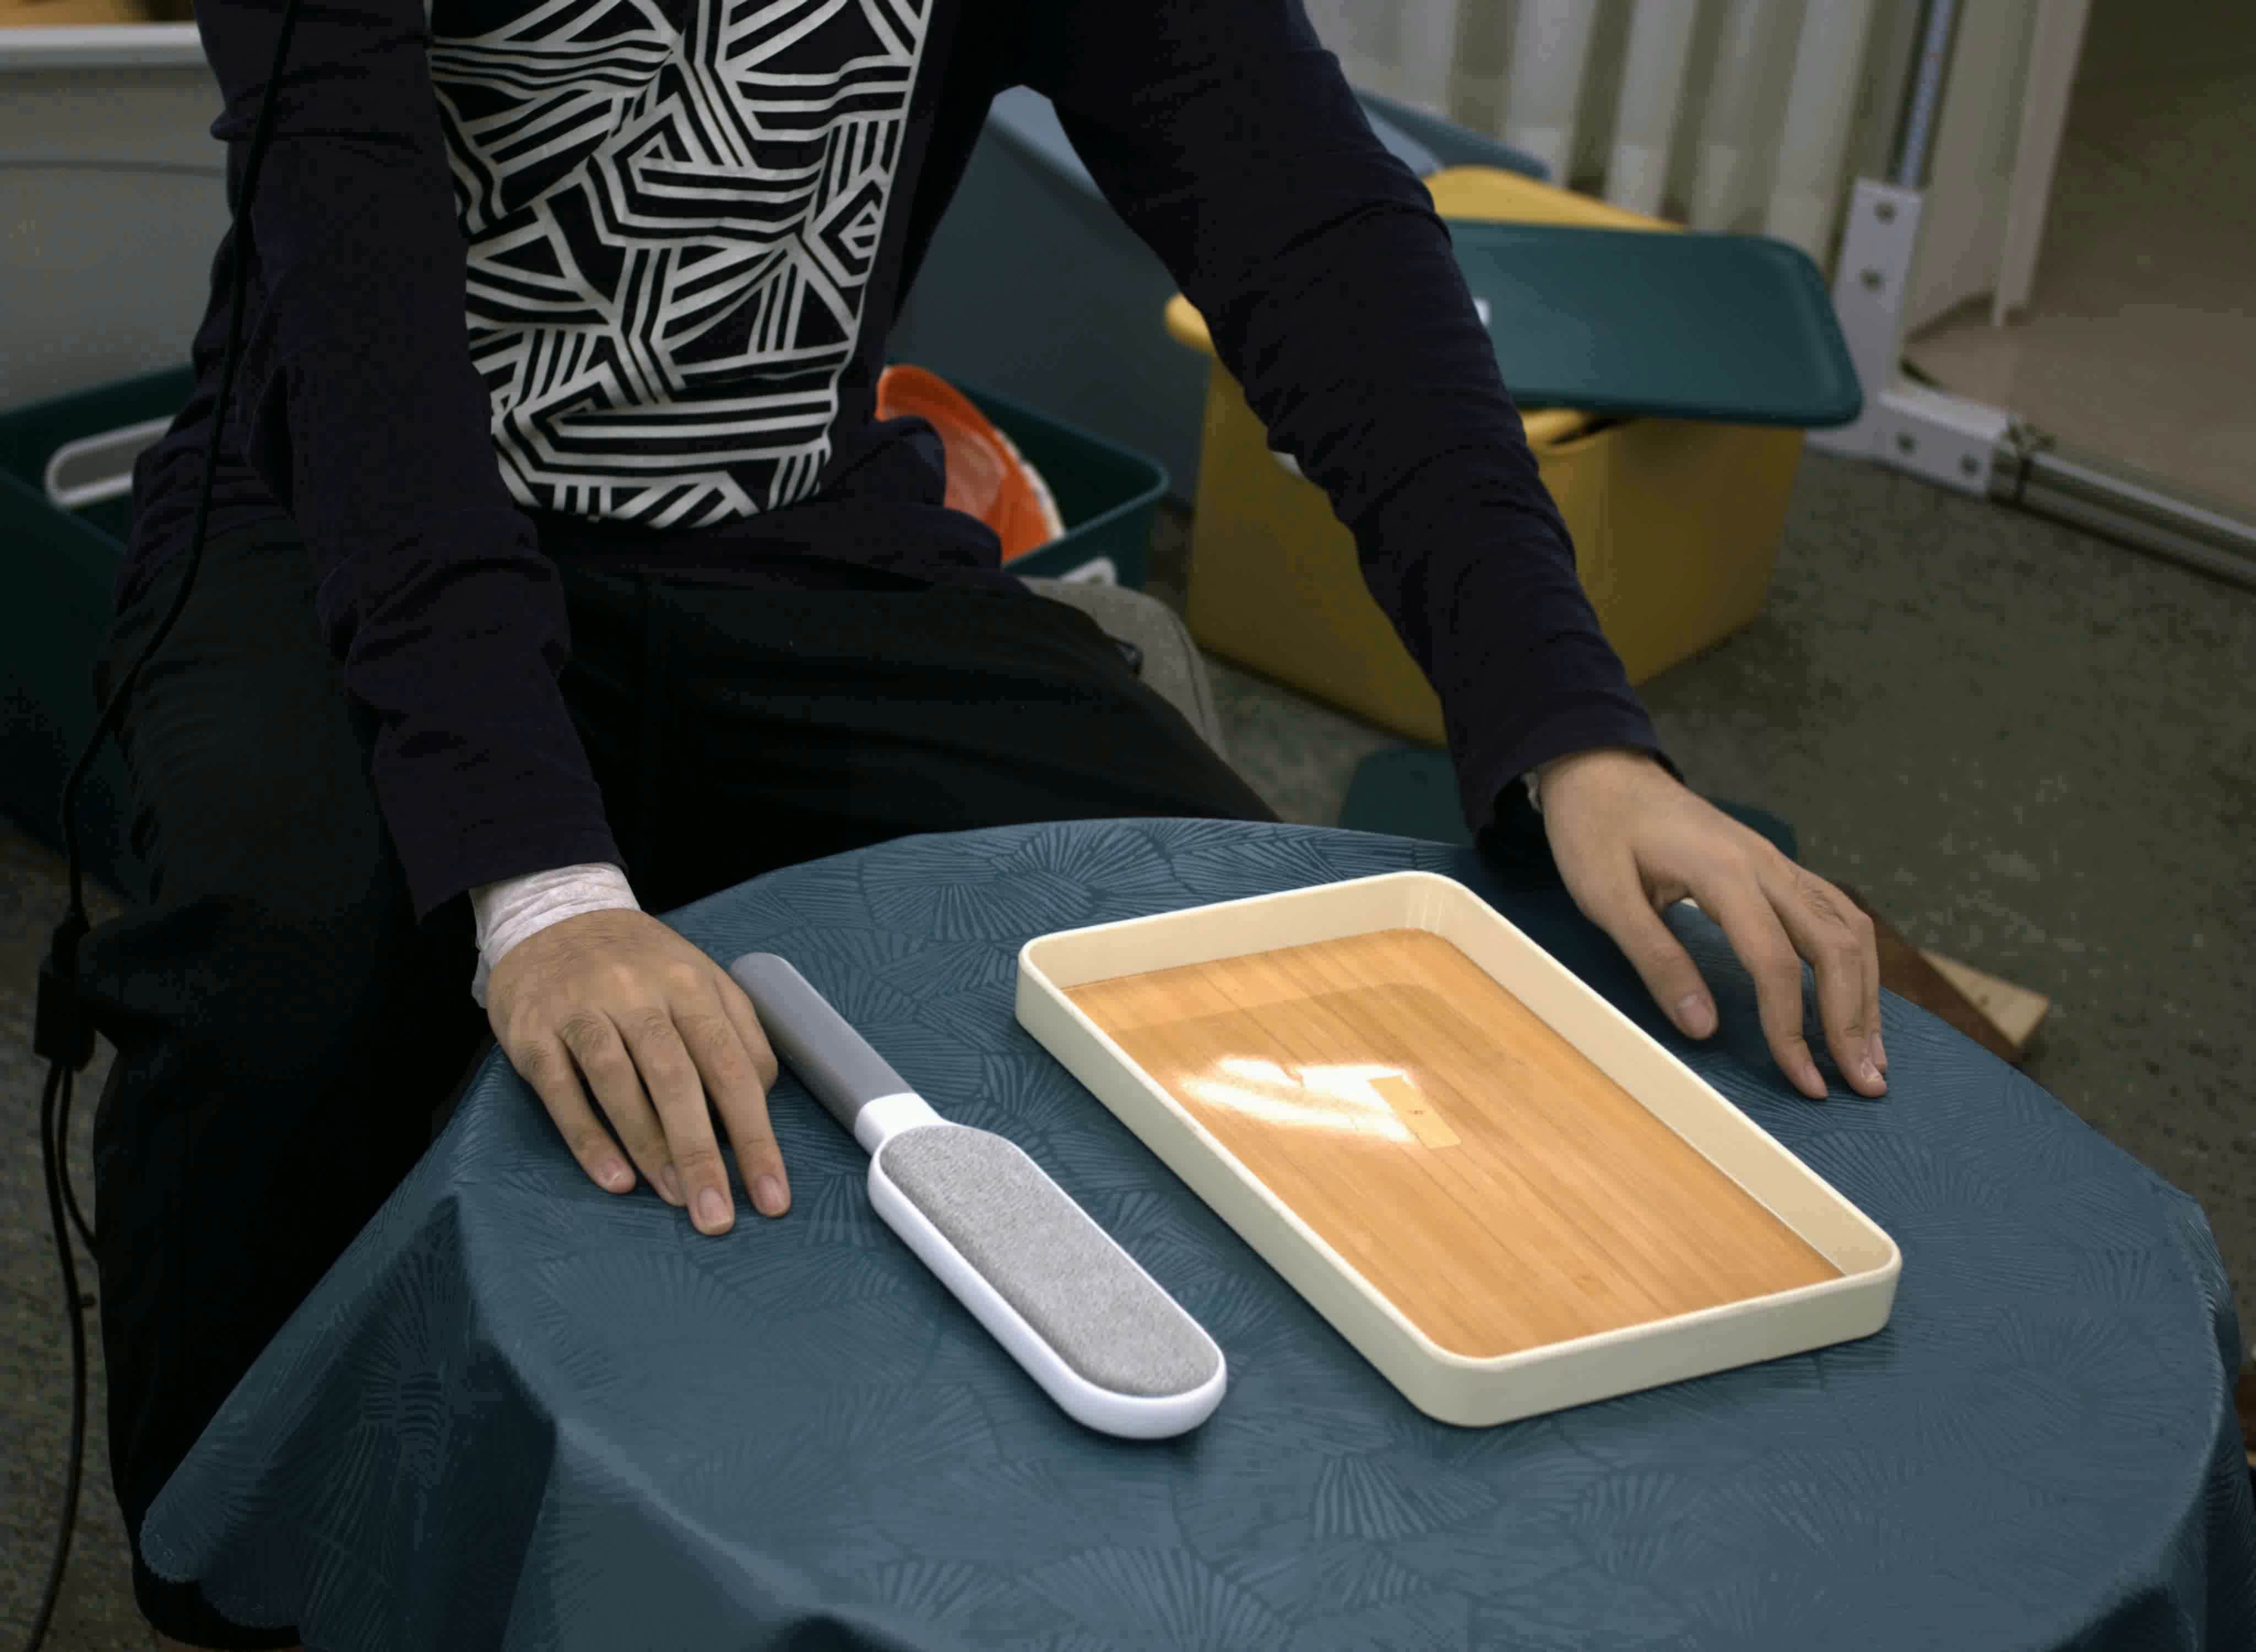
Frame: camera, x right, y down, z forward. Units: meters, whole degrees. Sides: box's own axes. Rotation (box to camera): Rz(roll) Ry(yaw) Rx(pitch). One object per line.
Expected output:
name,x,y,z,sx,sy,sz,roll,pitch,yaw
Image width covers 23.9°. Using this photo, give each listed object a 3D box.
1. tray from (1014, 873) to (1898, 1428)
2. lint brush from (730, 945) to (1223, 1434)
tray,0.107,0.105,1.837,0.190,0.027,0.303,-9,30,-28
lint brush,-0.058,0.116,1.778,0.060,0.021,0.312,-14,33,-25
